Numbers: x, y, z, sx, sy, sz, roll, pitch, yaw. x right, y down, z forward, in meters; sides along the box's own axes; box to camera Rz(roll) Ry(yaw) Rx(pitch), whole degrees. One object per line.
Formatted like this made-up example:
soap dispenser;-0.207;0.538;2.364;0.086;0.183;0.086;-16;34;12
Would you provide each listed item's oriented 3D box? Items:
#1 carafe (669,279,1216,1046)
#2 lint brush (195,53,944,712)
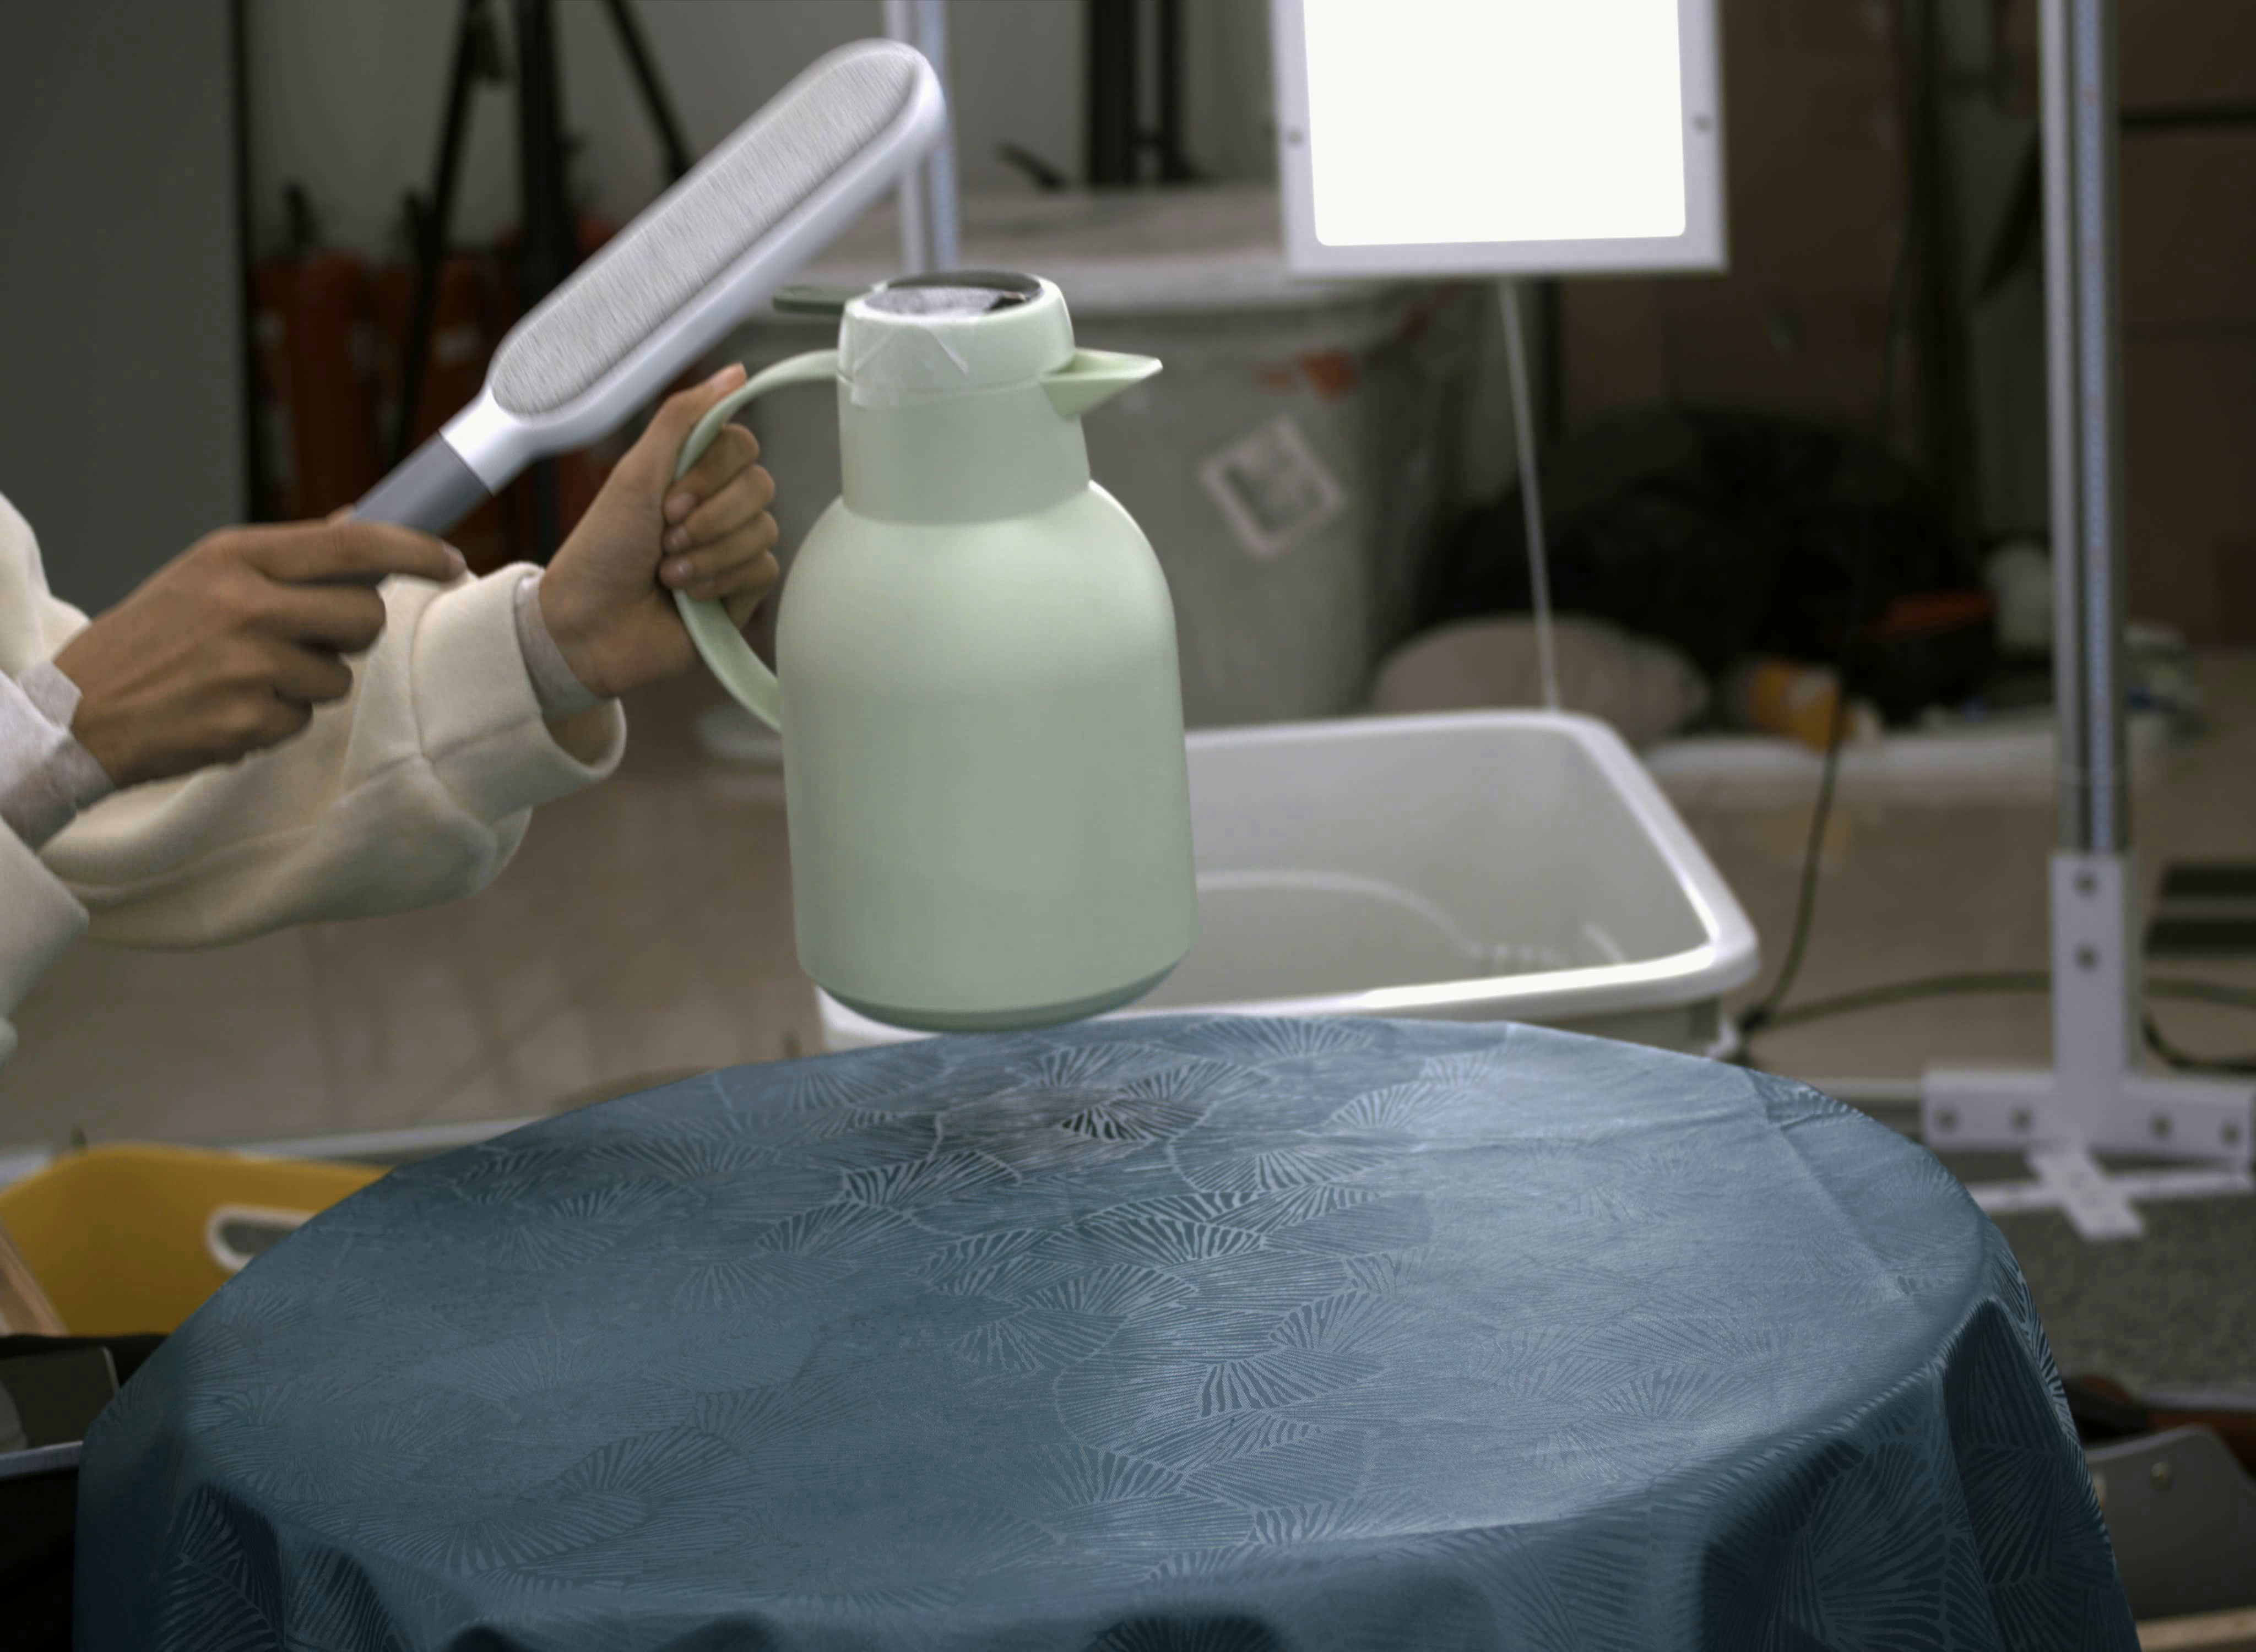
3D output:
carafe;-0.065;-0.062;1.940;0.189;0.257;0.142;-1;20;20
lint brush;-0.181;-0.143;1.778;0.308;0.020;0.061;-41;46;-1
